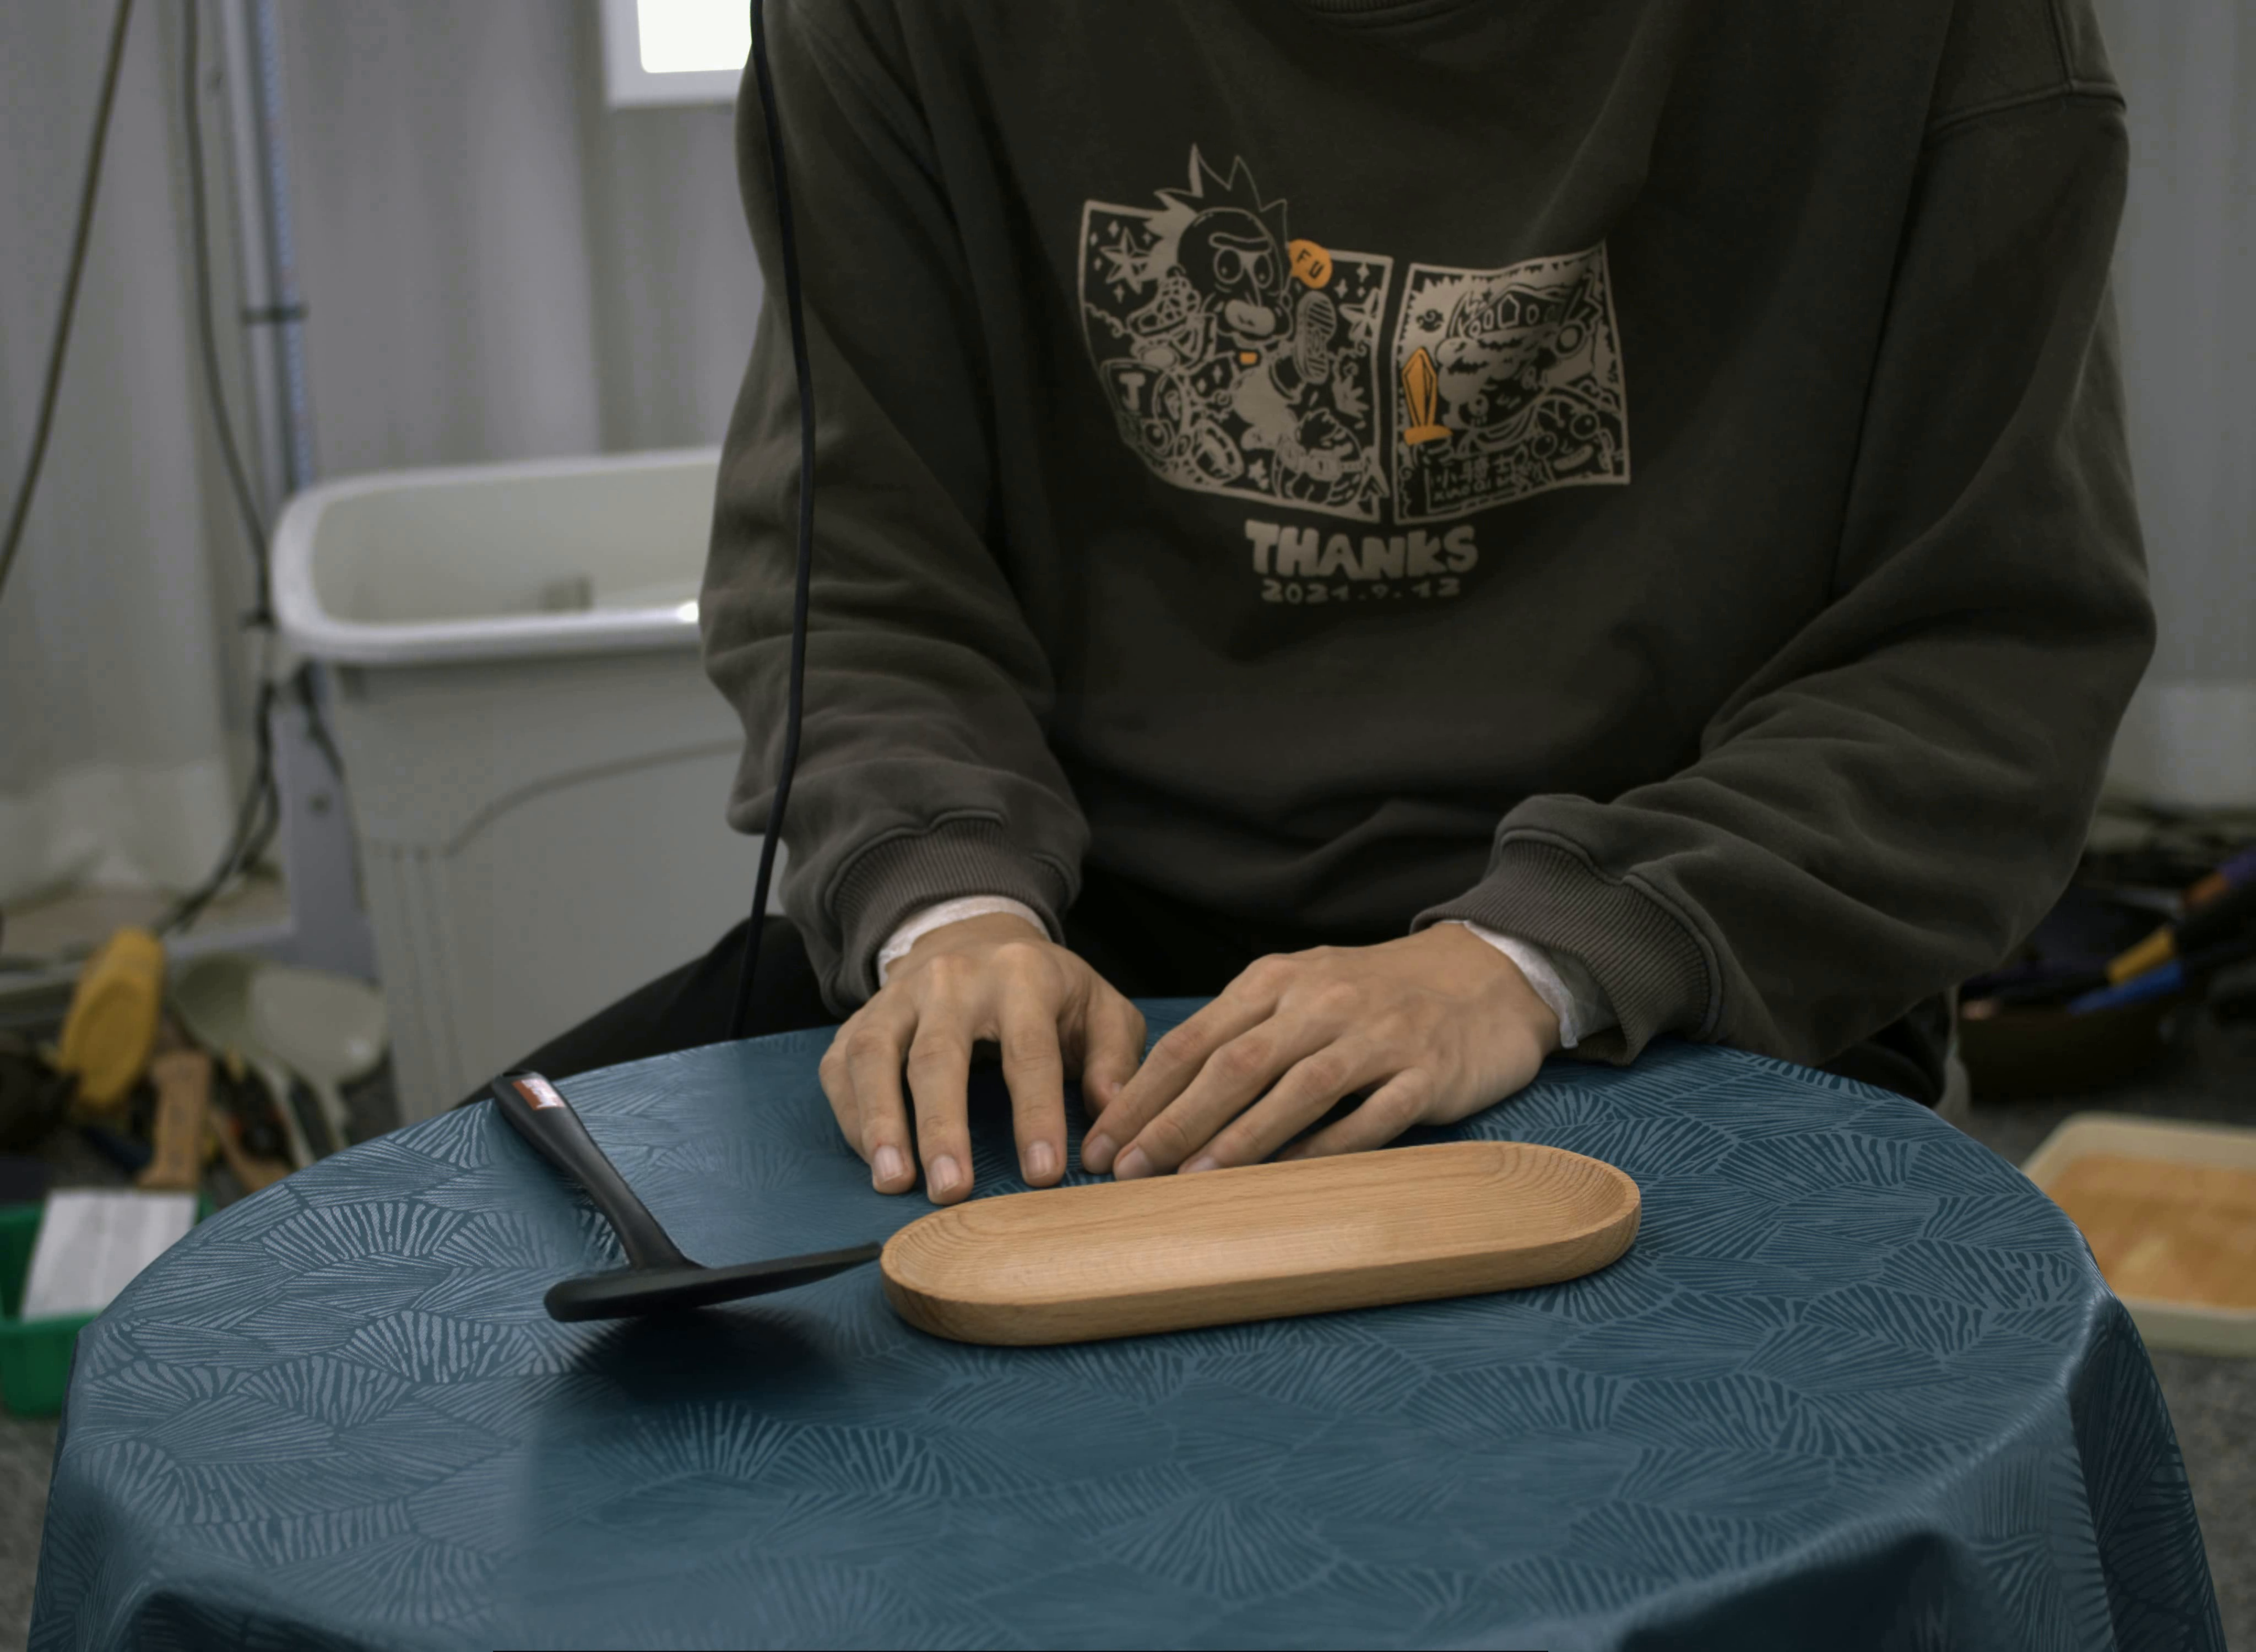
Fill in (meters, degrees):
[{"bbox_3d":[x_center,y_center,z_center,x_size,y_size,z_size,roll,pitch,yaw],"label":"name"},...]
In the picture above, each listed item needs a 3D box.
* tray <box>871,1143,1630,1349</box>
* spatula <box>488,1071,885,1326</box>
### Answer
[{"bbox_3d":[0.038,0.126,1.641,0.230,0.020,0.102,-7,15,-10],"label":"tray"},{"bbox_3d":[-0.161,0.110,1.703,0.099,0.040,0.329,-6,15,-17],"label":"spatula"}]
